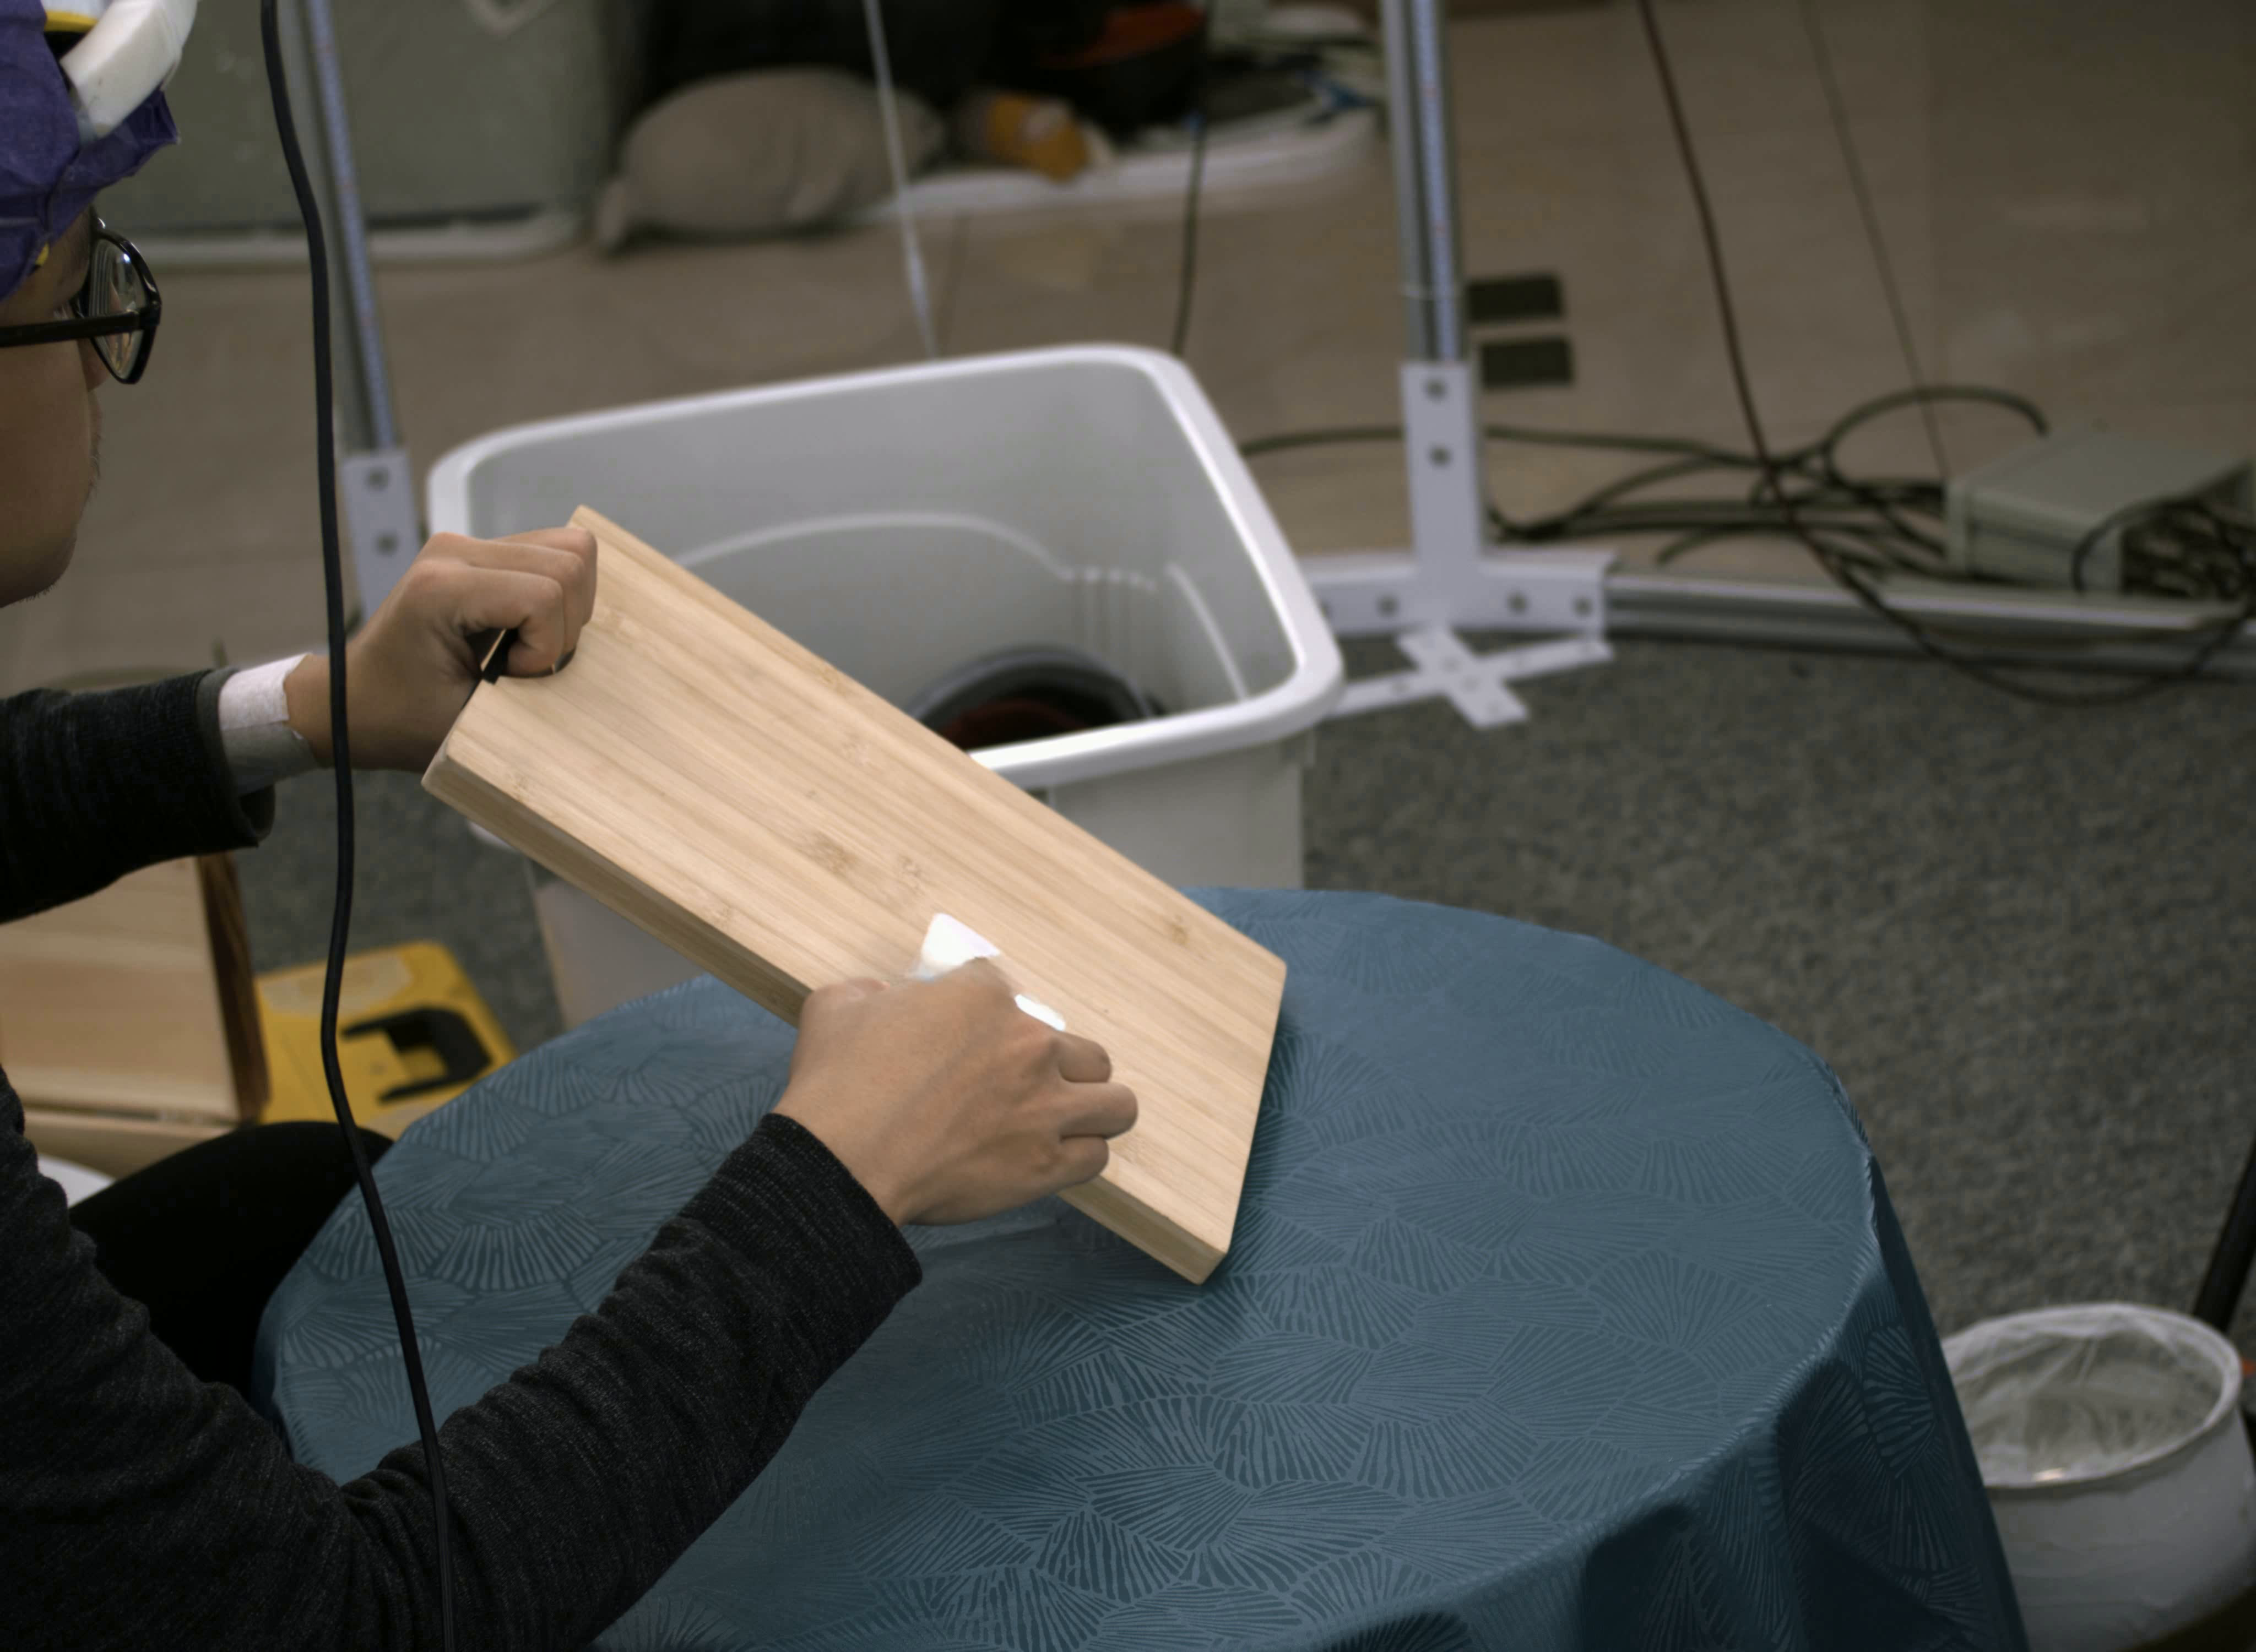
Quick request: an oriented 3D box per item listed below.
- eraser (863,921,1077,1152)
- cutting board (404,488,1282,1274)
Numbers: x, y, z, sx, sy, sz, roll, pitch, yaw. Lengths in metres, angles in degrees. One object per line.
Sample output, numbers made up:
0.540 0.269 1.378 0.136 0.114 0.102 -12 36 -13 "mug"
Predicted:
-0.057 0.072 2.039 0.063 0.035 0.130 35 18 -3 "eraser"
-0.099 0.017 2.150 0.350 0.024 0.247 33 25 -10 "cutting board"
